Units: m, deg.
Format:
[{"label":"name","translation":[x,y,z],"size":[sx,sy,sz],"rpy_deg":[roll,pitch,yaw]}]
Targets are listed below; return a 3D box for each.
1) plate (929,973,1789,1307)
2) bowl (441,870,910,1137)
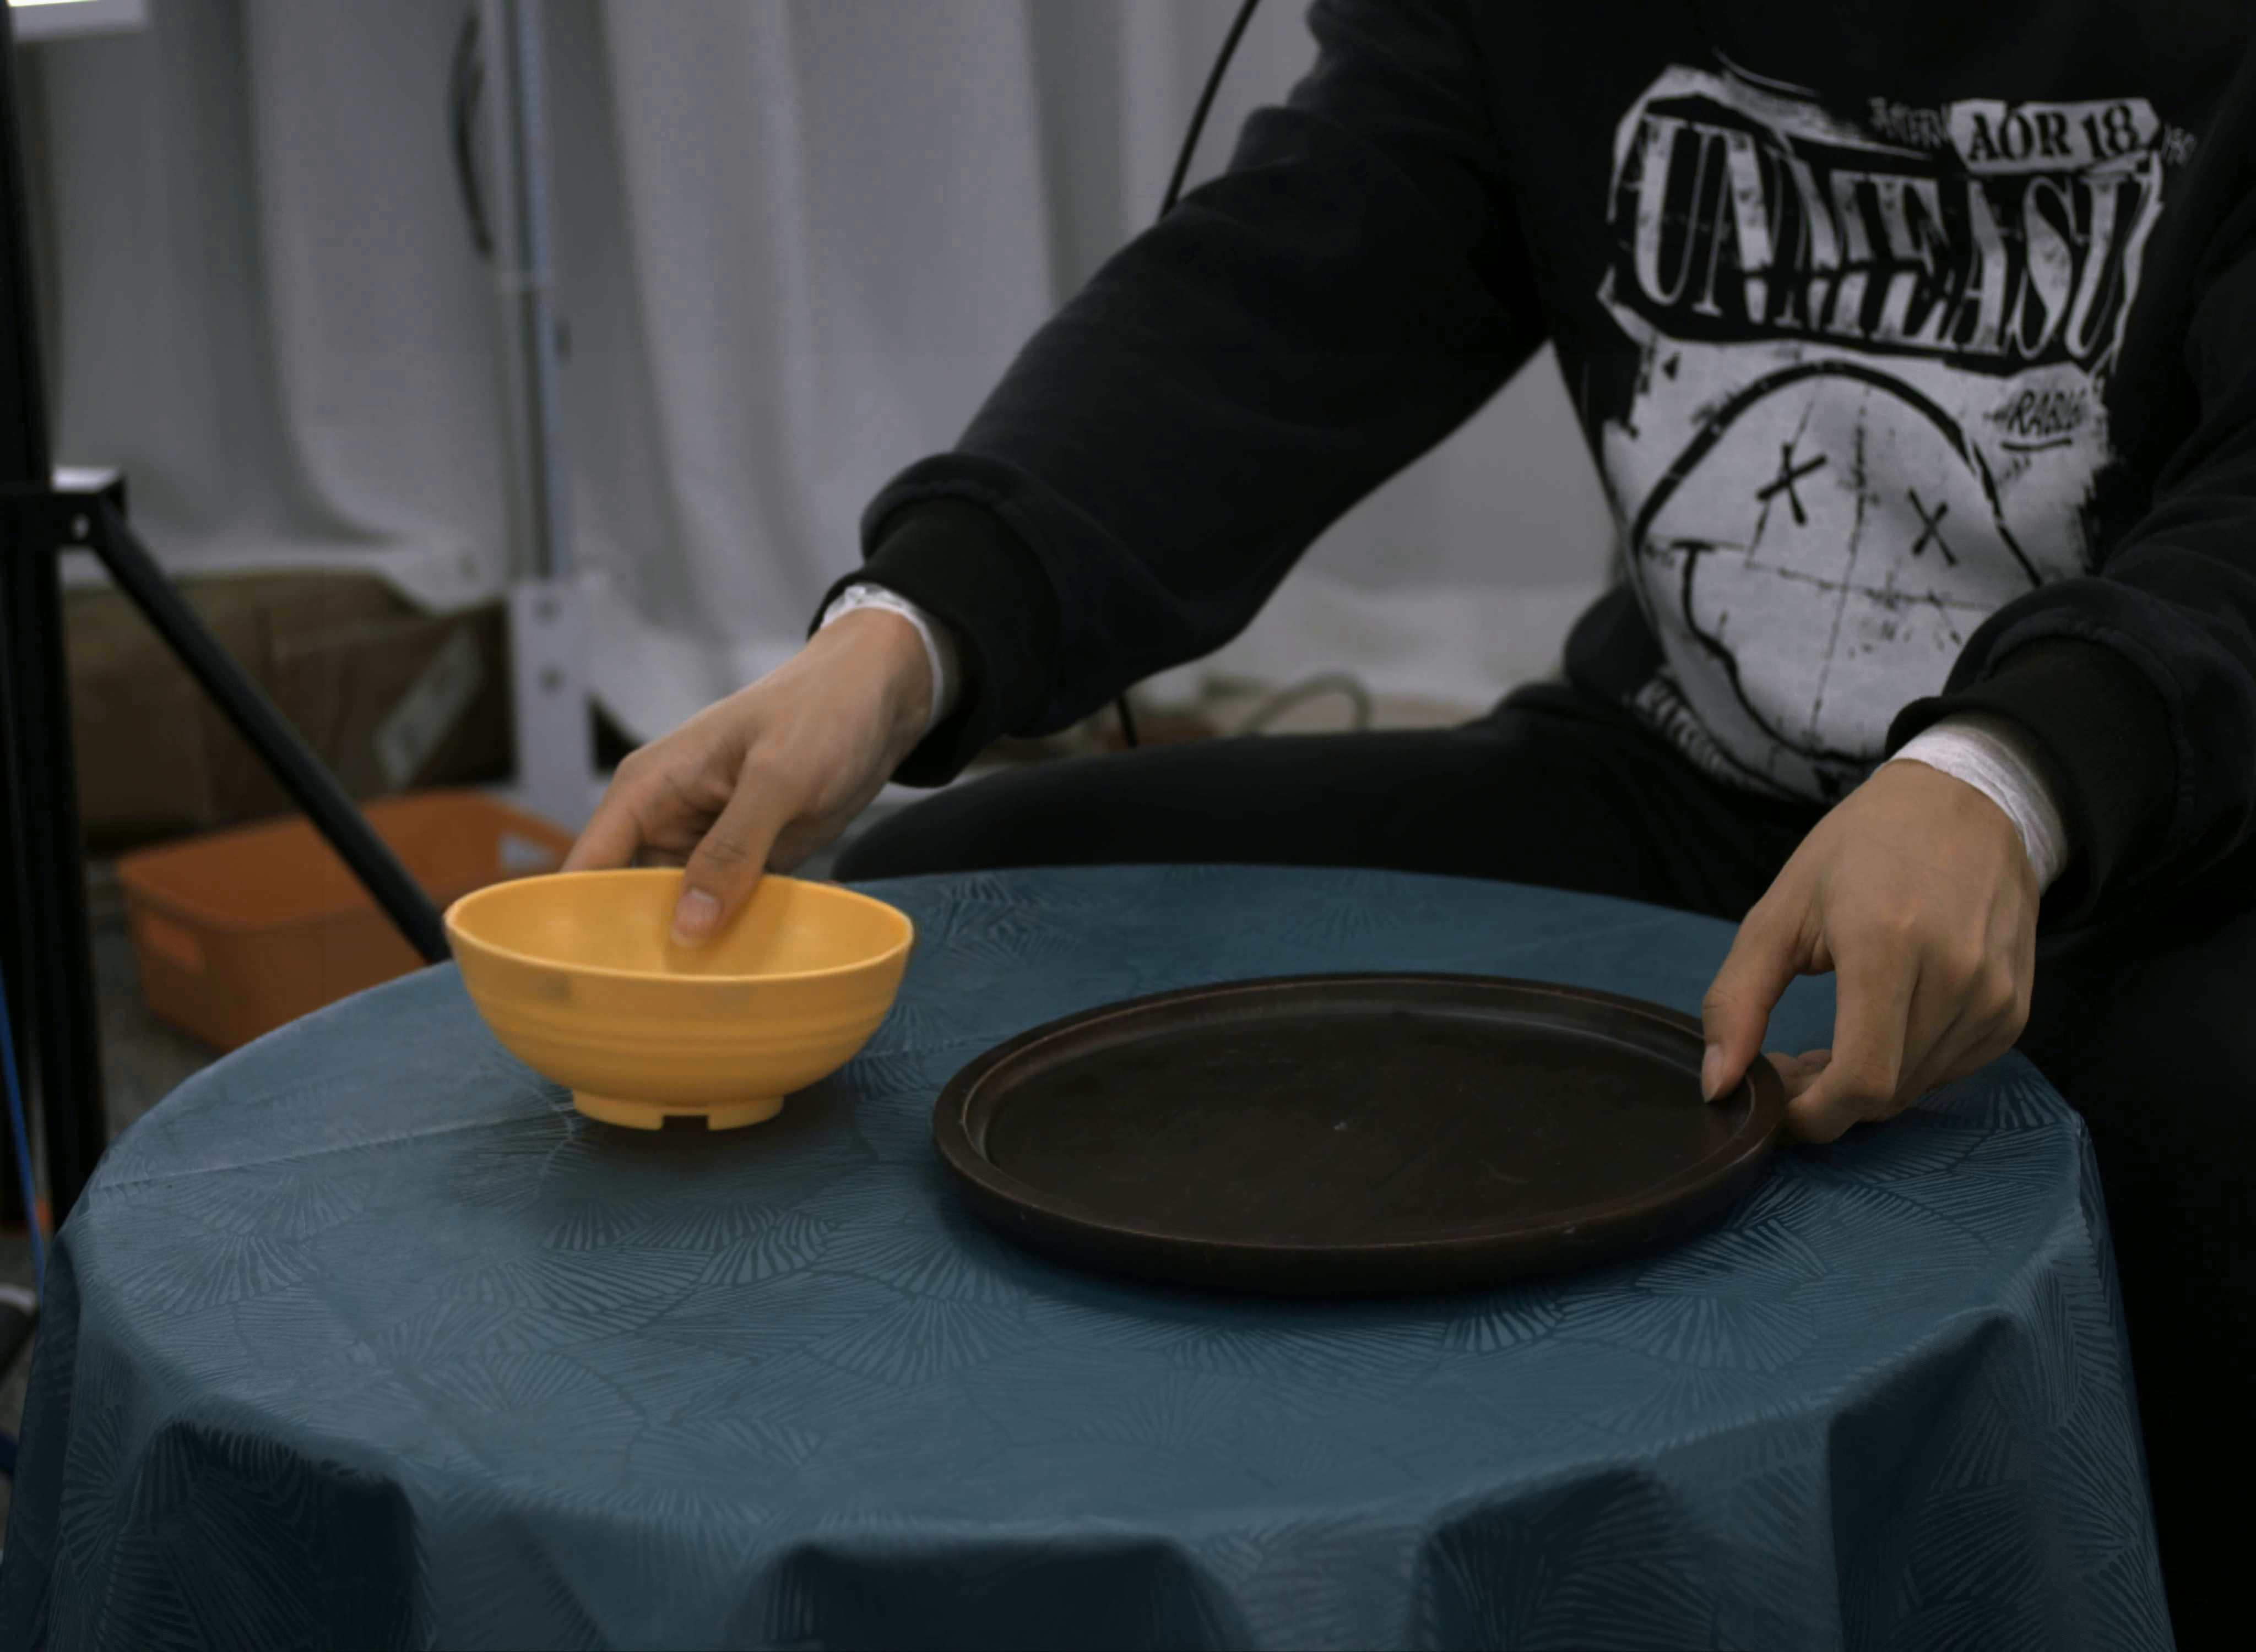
[{"label":"plate","translation":[0.068,0.091,1.566],"size":[0.253,0.029,0.256],"rpy_deg":[-4,14,0]},{"label":"bowl","translation":[-0.140,0.059,1.643],"size":[0.144,0.060,0.146],"rpy_deg":[3,12,-2]}]
